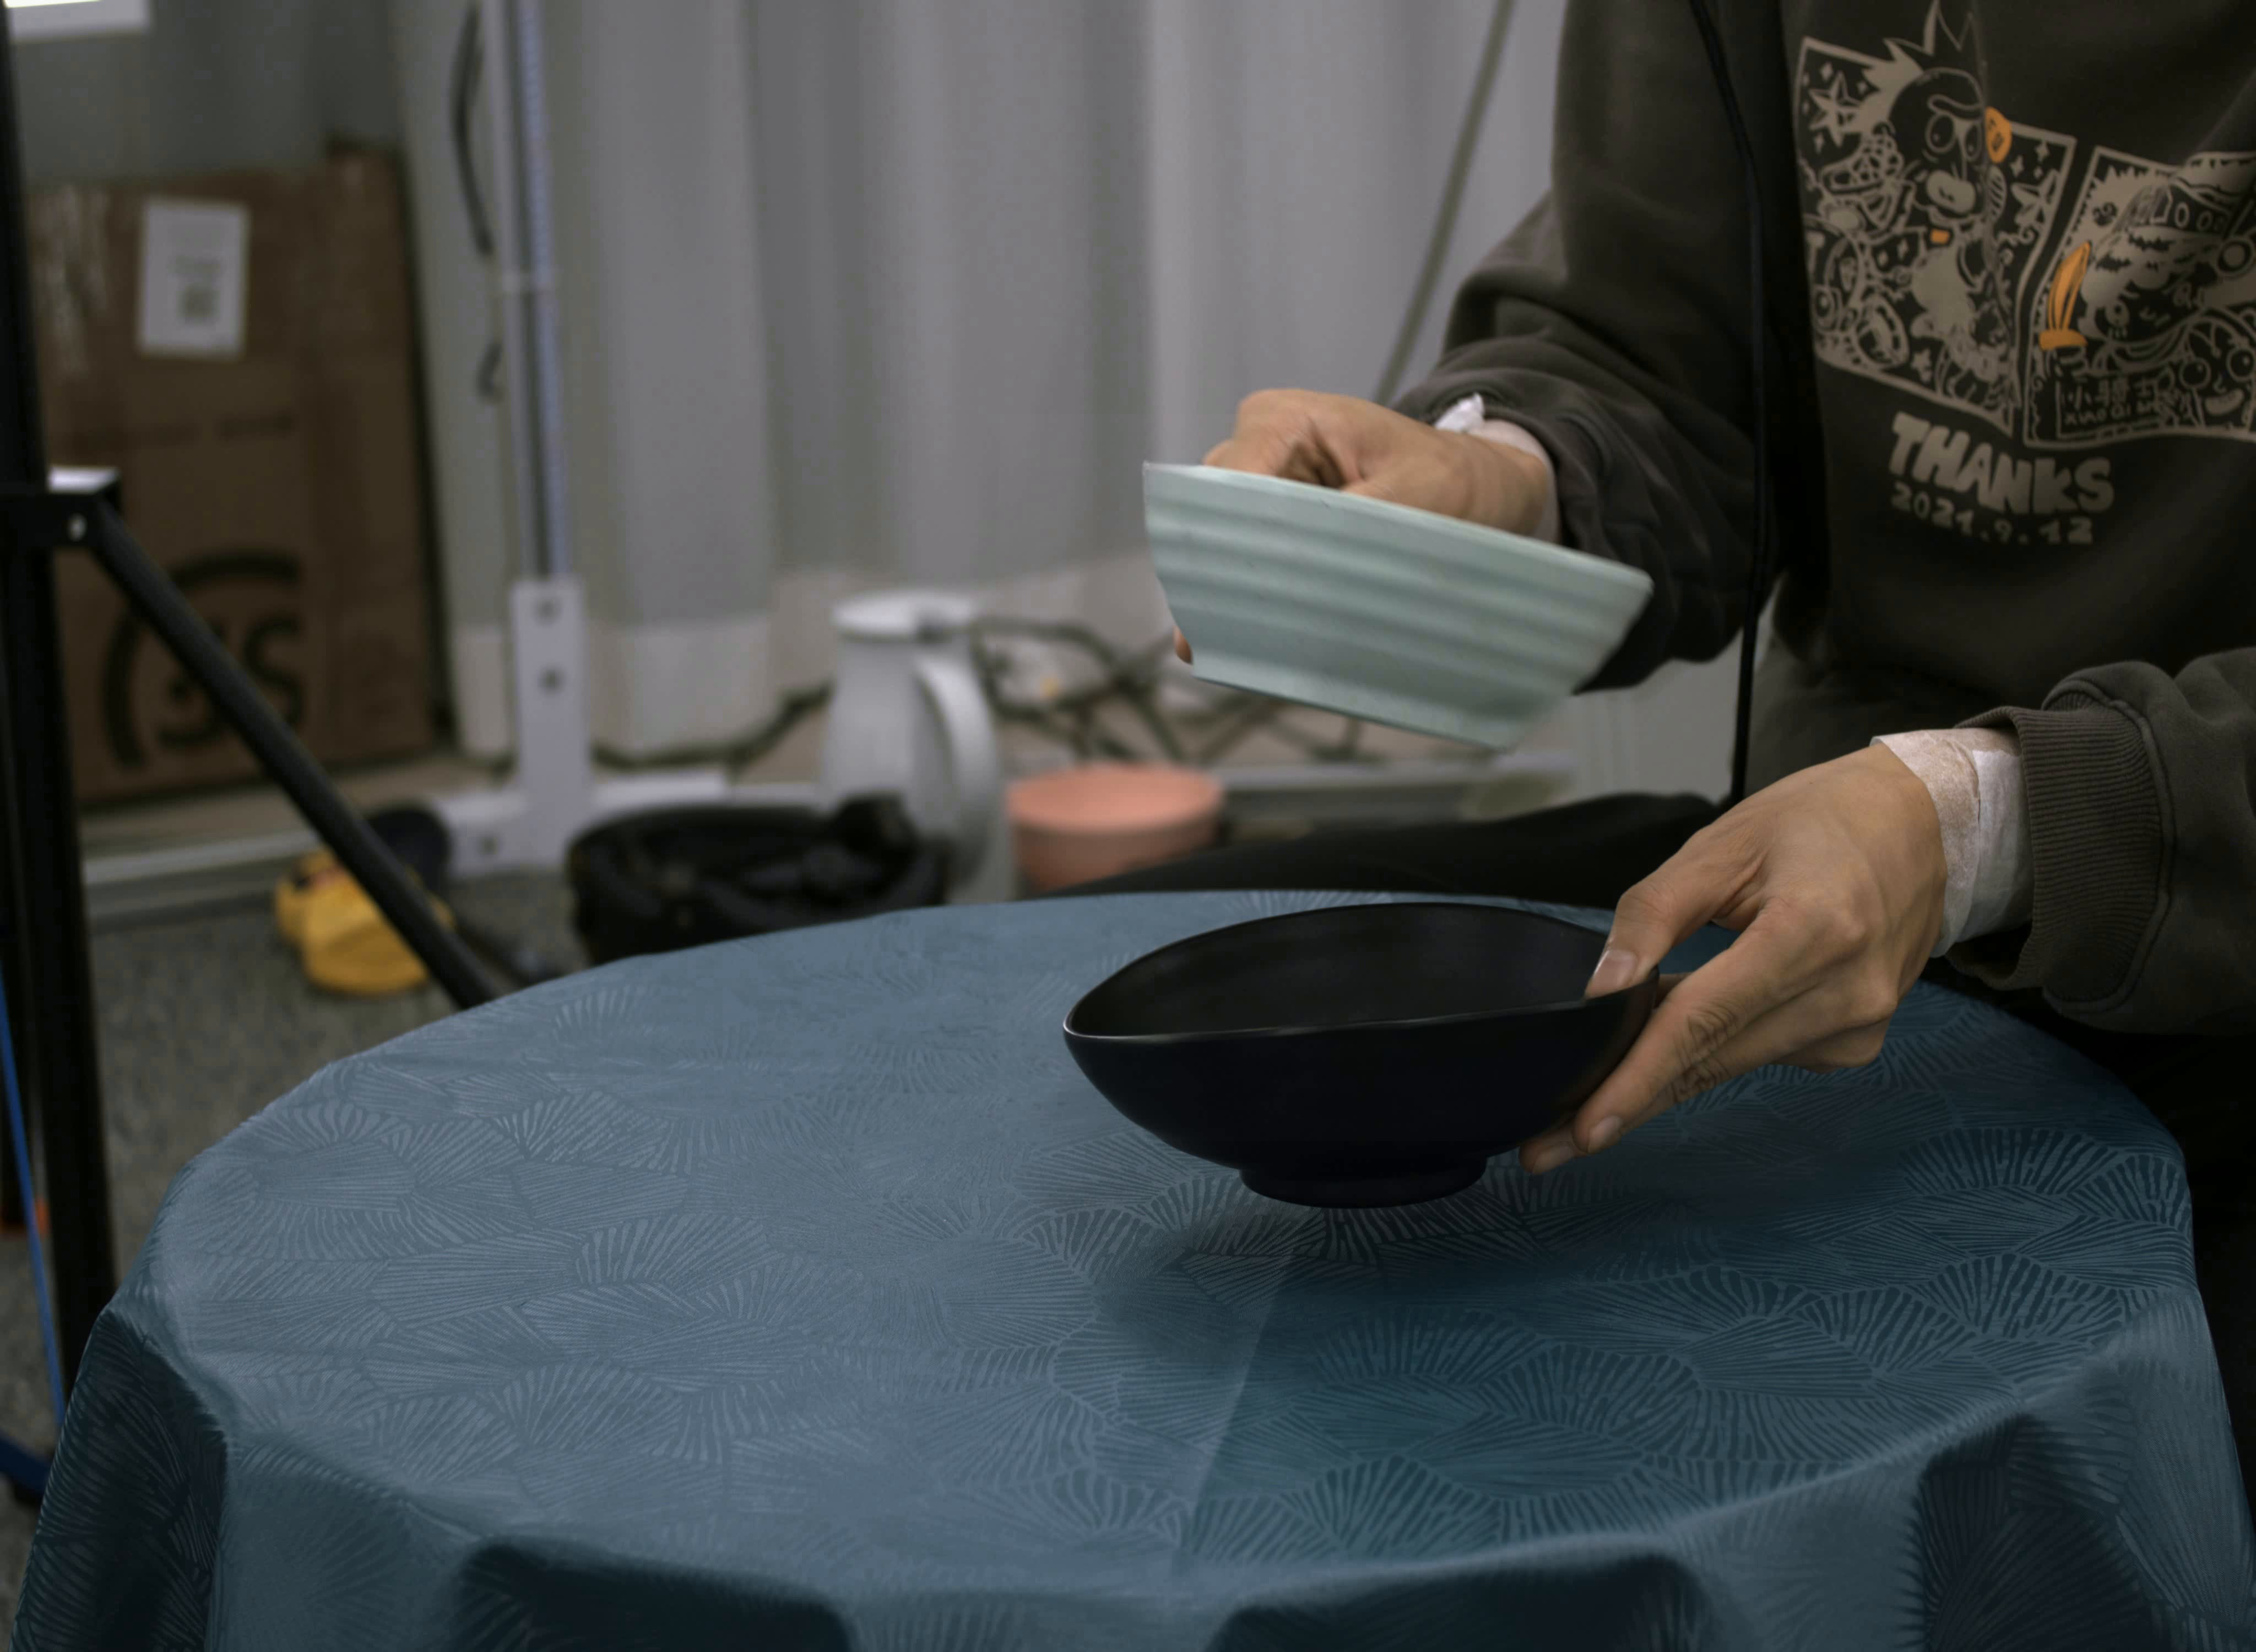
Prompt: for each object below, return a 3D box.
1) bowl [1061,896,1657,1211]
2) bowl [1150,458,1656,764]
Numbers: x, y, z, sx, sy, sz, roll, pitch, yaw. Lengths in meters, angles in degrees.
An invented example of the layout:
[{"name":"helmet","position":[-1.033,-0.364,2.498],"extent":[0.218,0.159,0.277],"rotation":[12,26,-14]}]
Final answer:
[{"name":"bowl","position":[0.067,0.069,1.507],"extent":[0.169,0.067,0.138],"rotation":[-4,13,-2]},{"name":"bowl","position":[0.071,-0.058,1.507],"extent":[0.150,0.059,0.152],"rotation":[15,3,-2]}]
